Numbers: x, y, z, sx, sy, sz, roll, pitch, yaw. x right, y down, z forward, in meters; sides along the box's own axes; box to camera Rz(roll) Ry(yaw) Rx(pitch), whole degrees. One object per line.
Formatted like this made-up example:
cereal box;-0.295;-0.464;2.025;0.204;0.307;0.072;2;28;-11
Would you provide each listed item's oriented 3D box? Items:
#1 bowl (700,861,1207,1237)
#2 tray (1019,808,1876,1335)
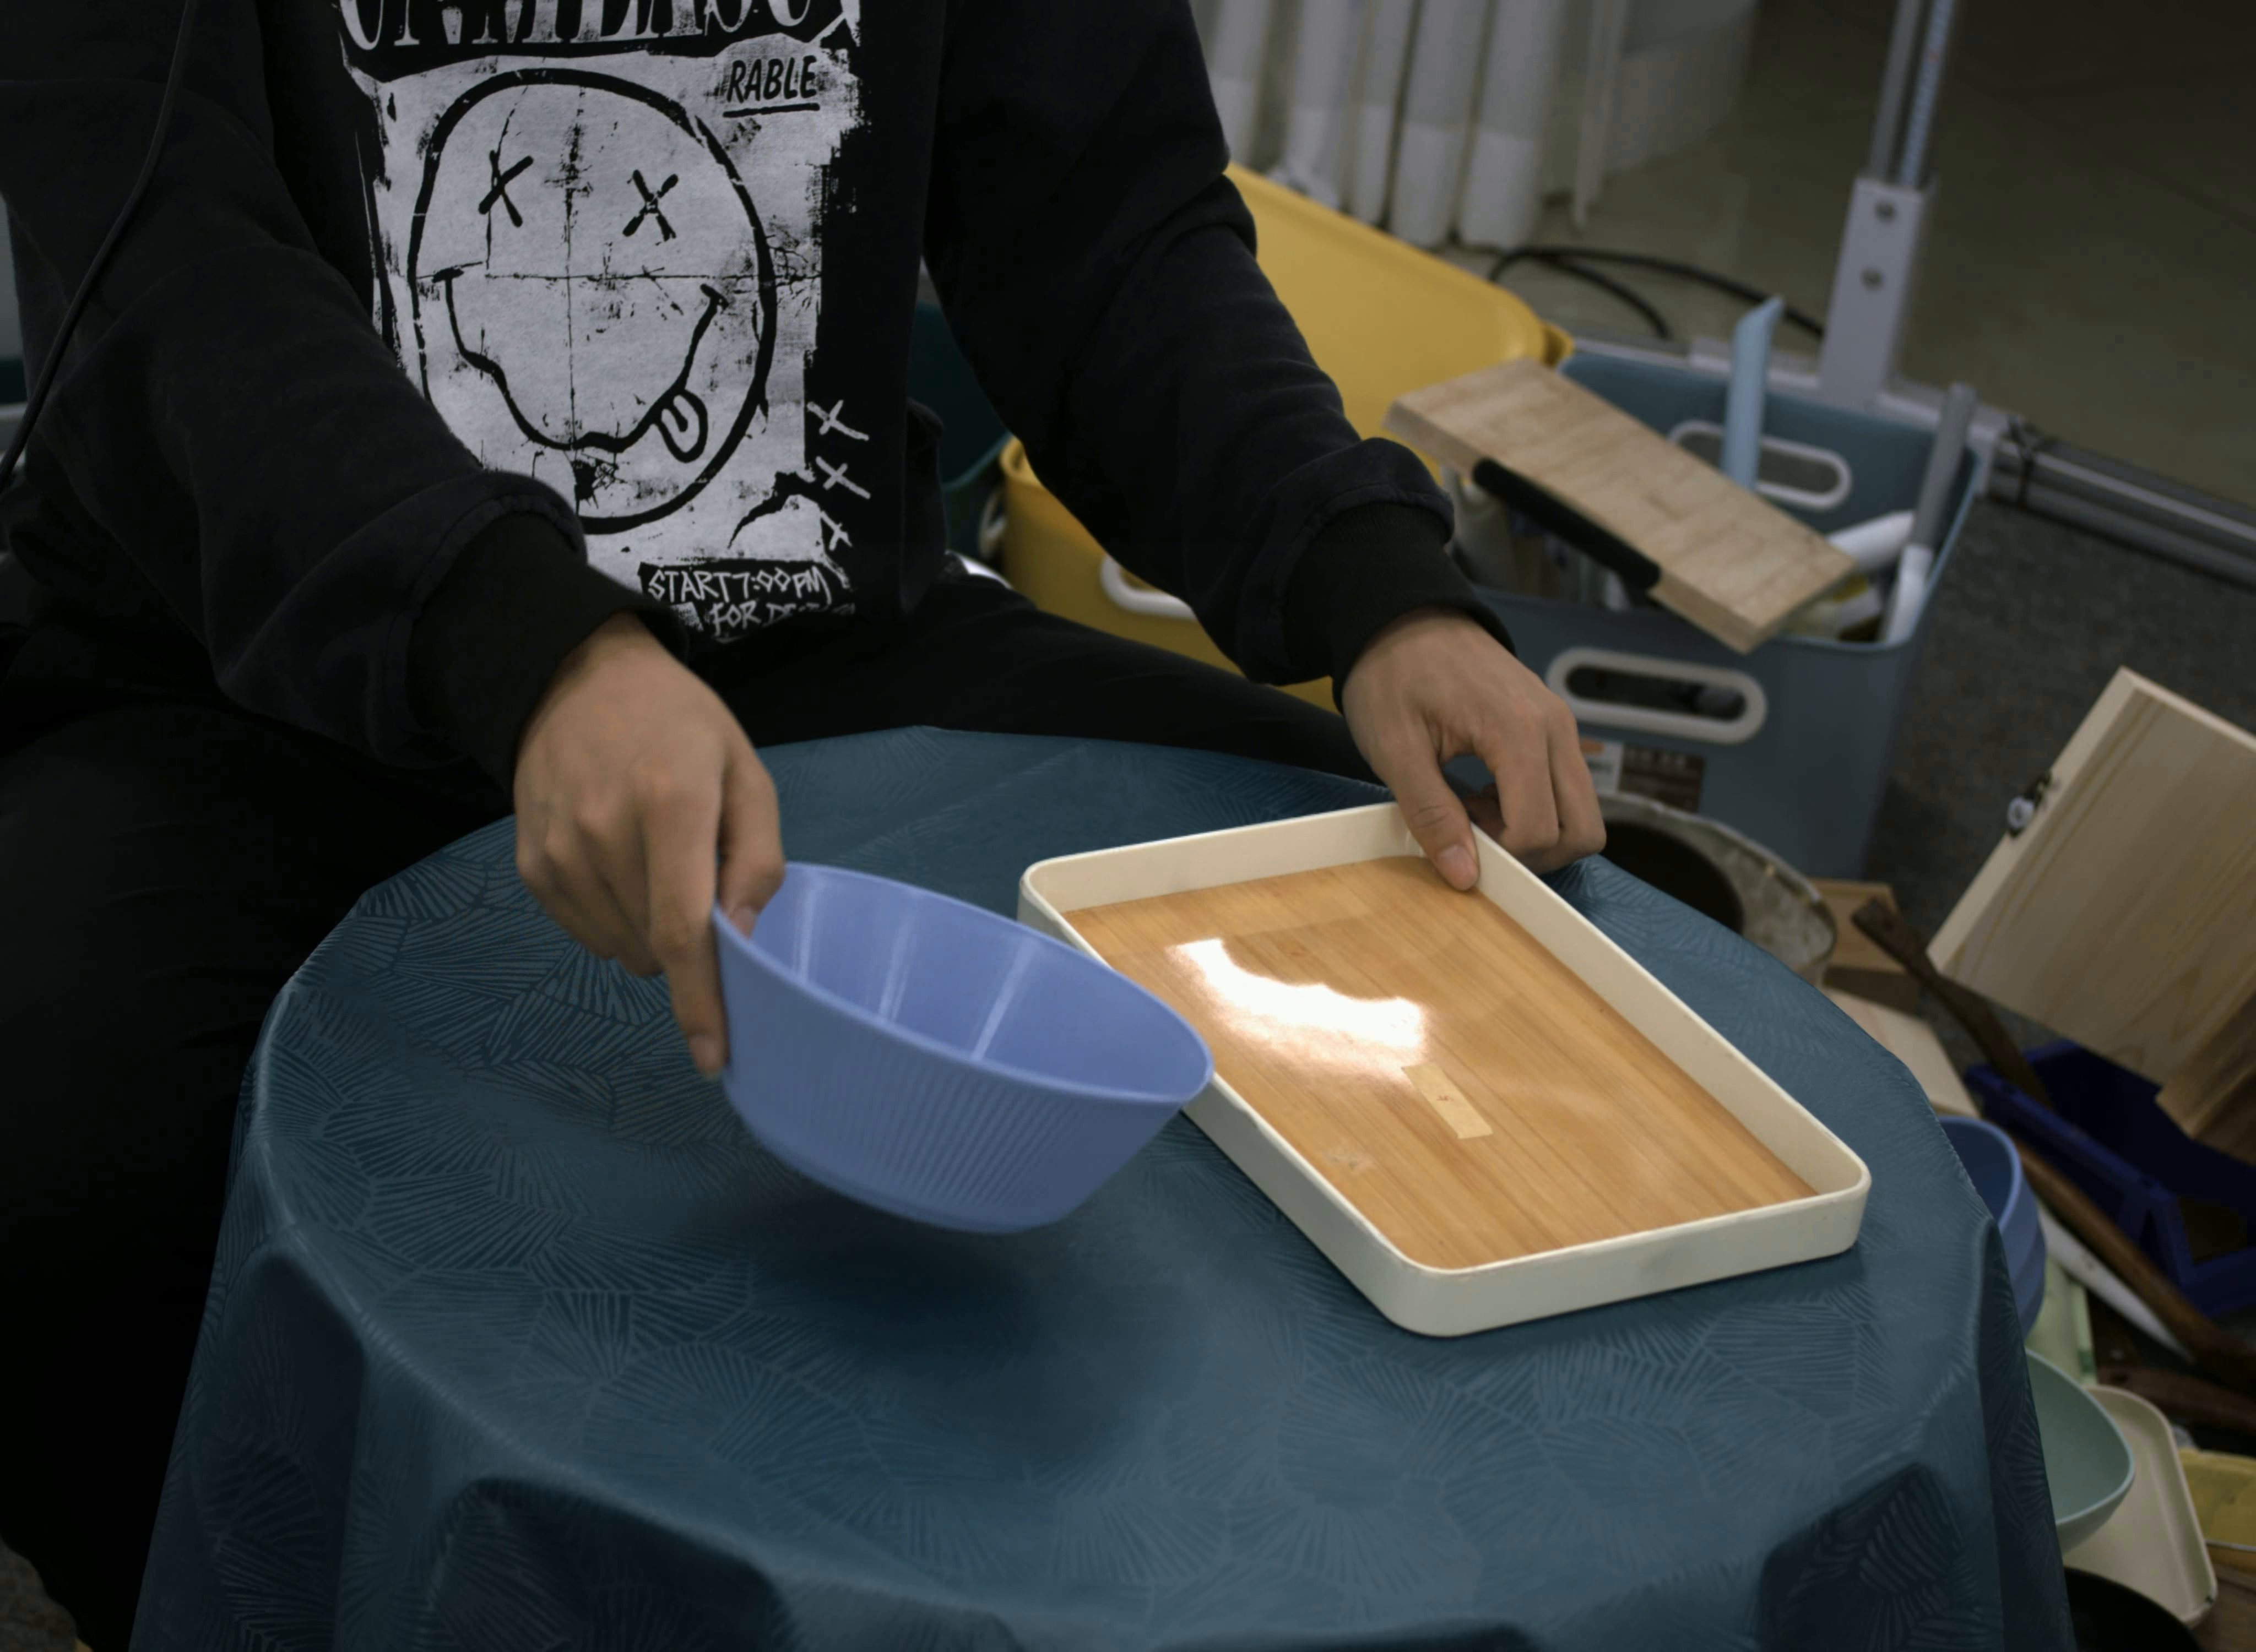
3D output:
bowl;-0.067;0.078;1.730;0.175;0.070;0.176;20;14;-6
tray;0.107;0.080;1.880;0.190;0.027;0.303;-8;30;-28
